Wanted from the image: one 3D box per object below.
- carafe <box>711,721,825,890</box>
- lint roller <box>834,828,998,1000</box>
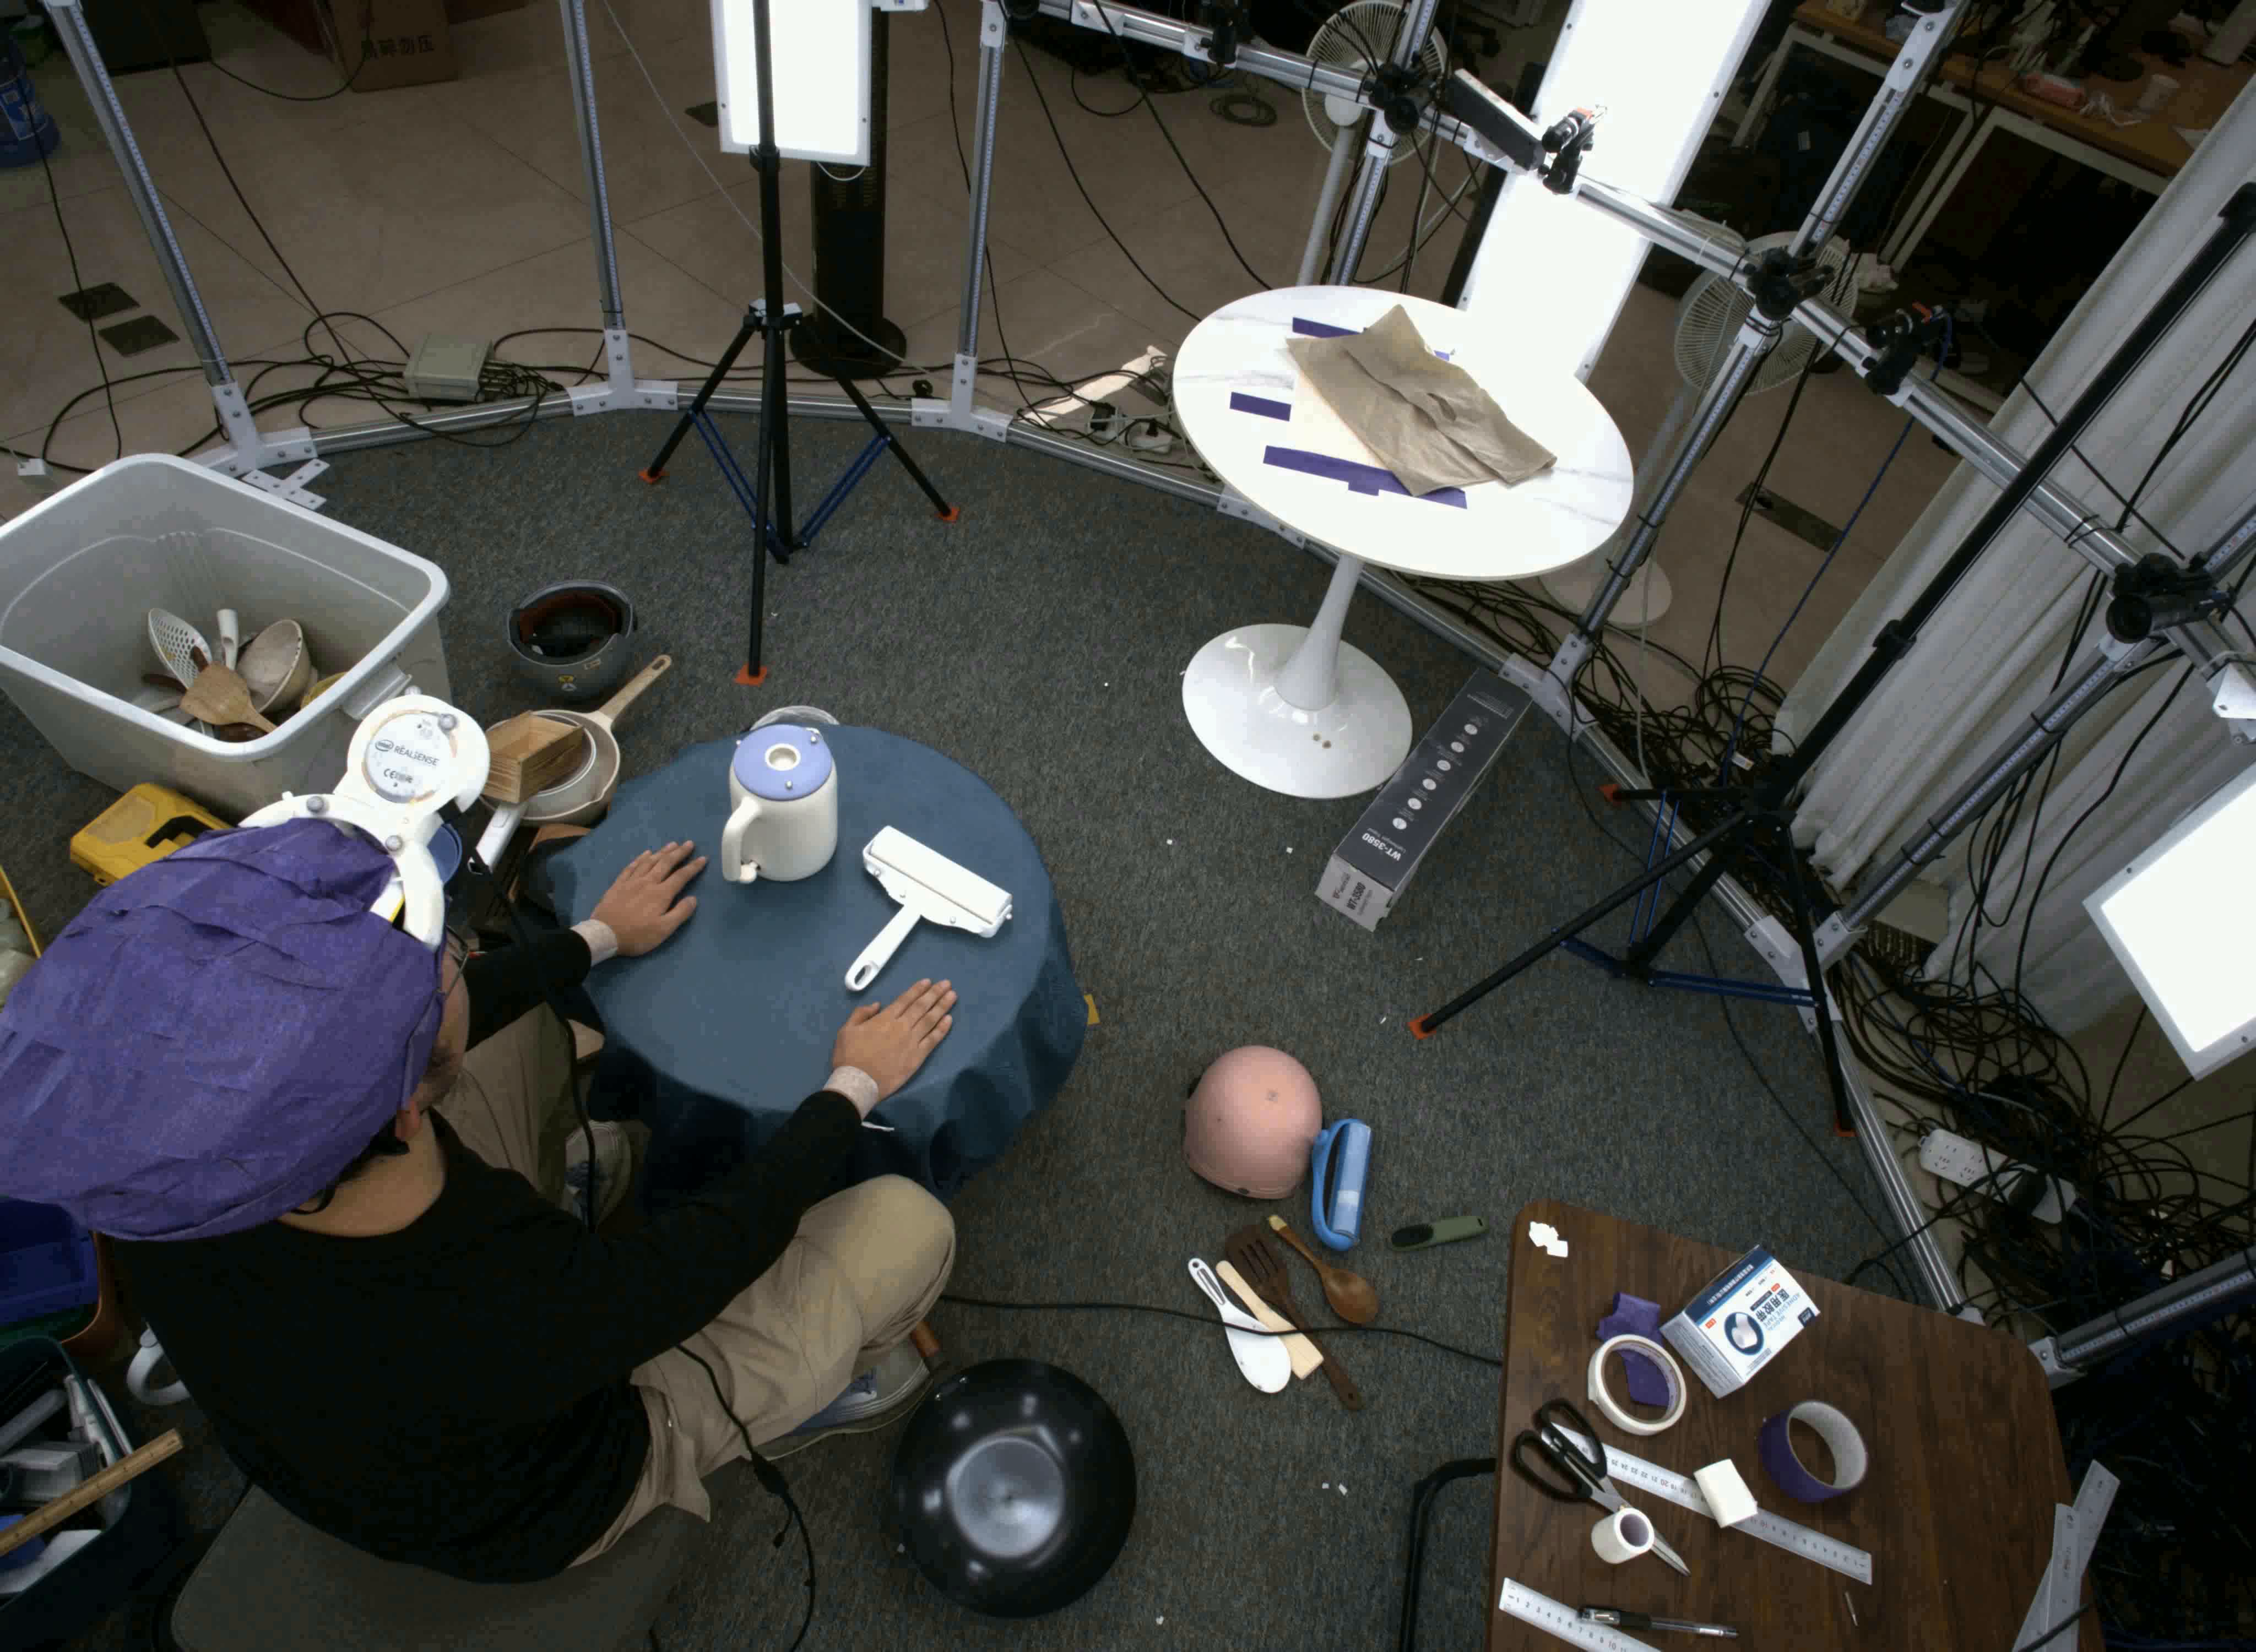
[{"bbox_3d":[-0.459,-0.013,1.608,0.130,0.186,0.190,24,53,8],"label":"carafe"},{"bbox_3d":[-0.299,0.123,1.632,0.200,0.049,0.224,29,53,6],"label":"lint roller"}]
